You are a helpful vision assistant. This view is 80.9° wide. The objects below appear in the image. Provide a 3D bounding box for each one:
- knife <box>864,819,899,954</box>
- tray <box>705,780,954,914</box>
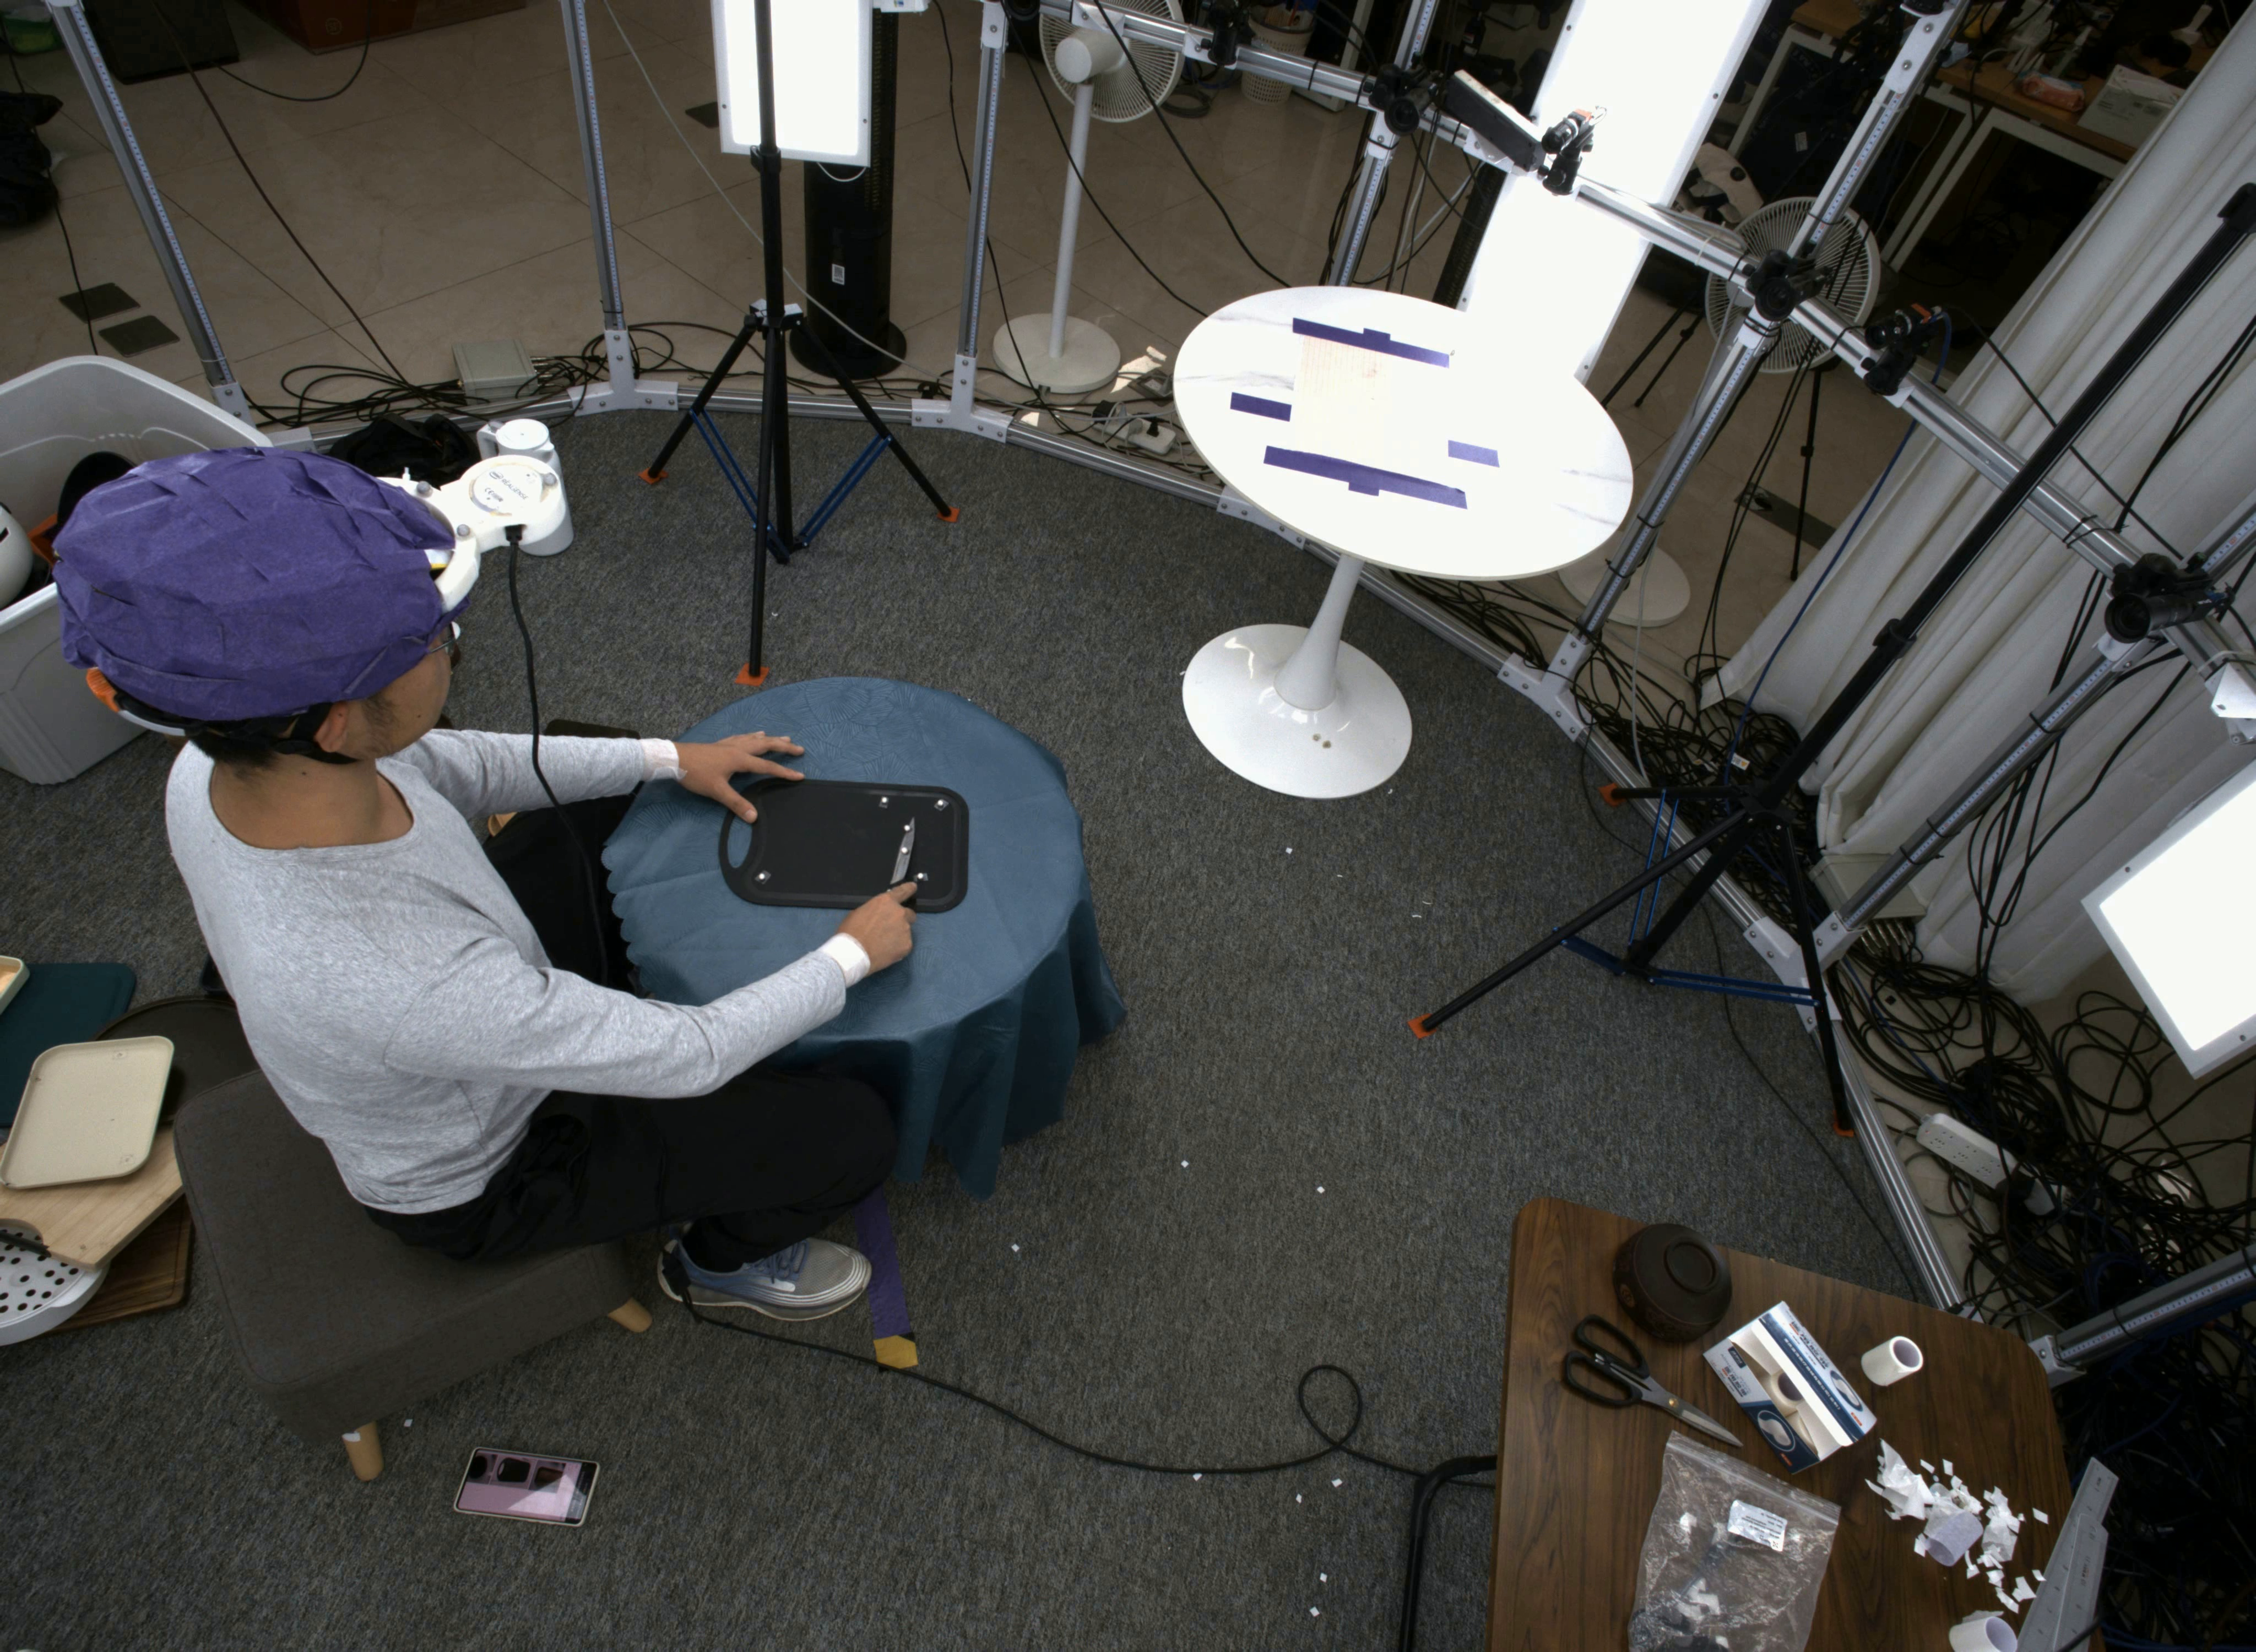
[{"bbox_3d":[-0.315,0.070,1.687,0.024,0.017,0.233,-15,42,16],"label":"knife"},{"bbox_3d":[-0.393,0.024,1.722,0.325,0.010,0.207,3,53,-12],"label":"tray"}]
